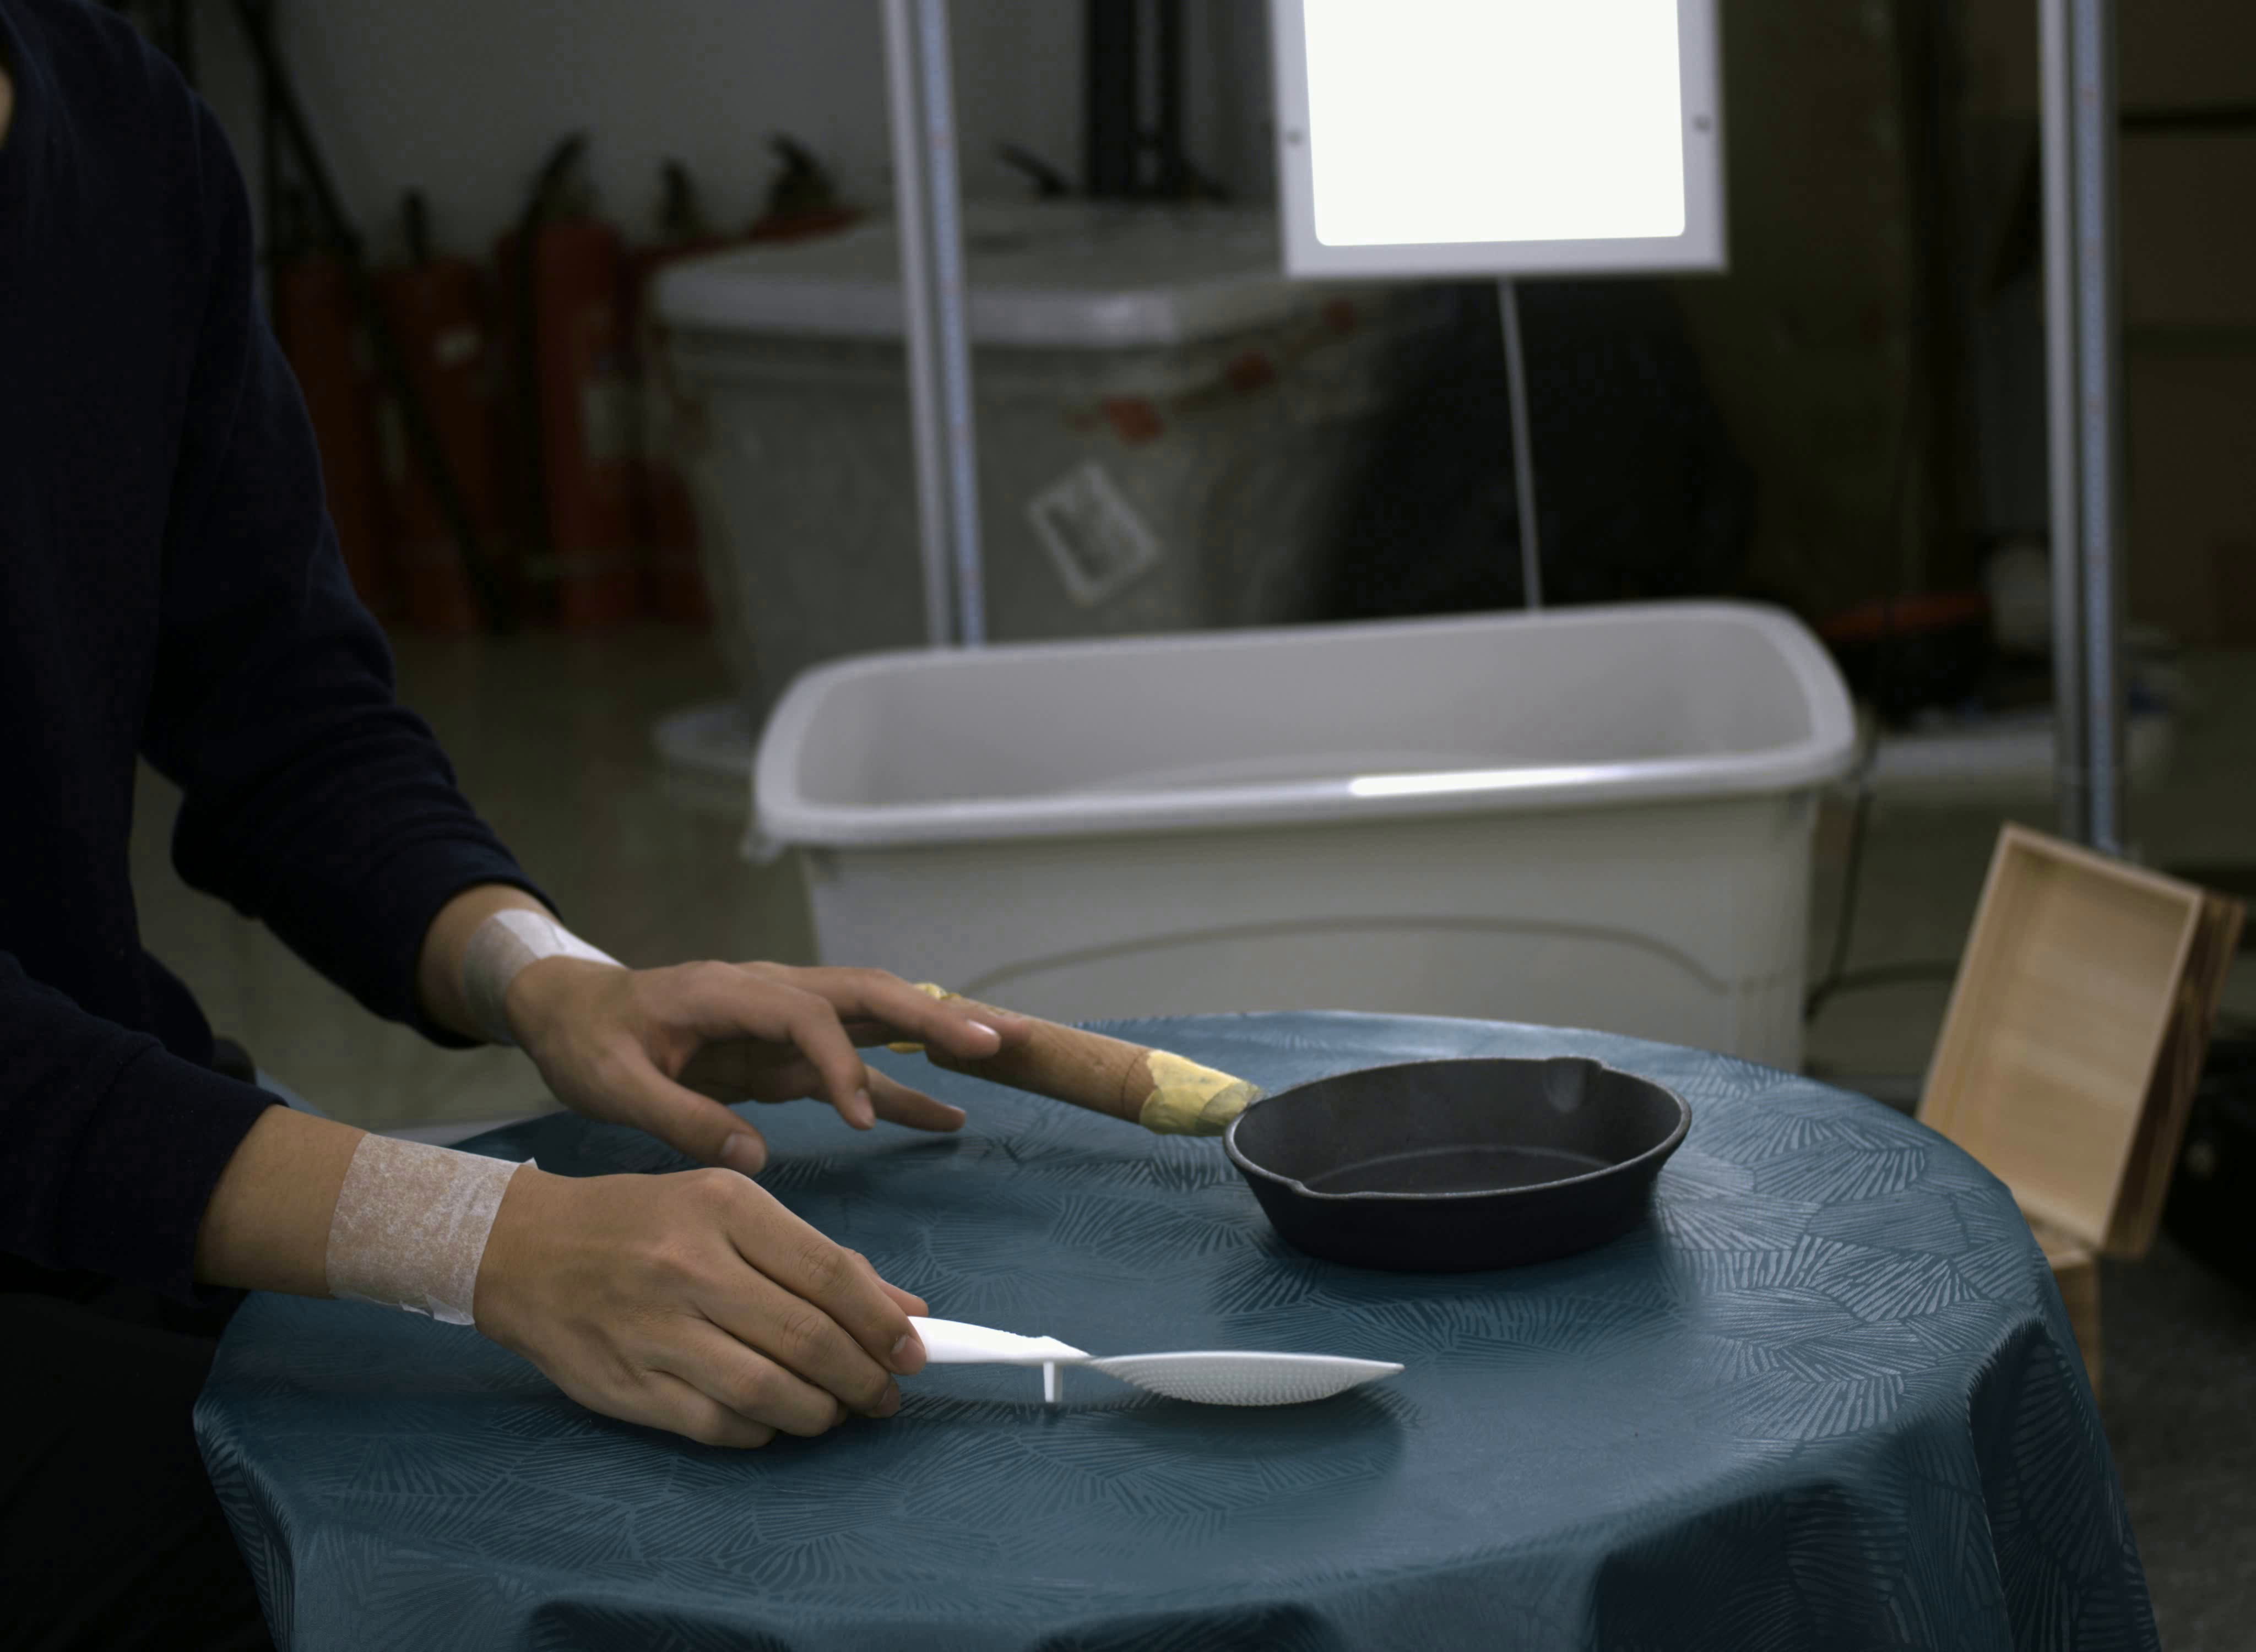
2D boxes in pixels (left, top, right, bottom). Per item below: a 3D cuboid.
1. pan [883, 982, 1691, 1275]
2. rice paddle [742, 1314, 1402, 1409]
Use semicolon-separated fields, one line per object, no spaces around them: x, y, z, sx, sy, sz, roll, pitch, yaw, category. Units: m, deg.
0.044;0.098;1.891;0.331;0.050;0.164;8;19;39;pan
-0.017;0.163;1.689;0.207;0.029;0.068;-2;-6;15;rice paddle
